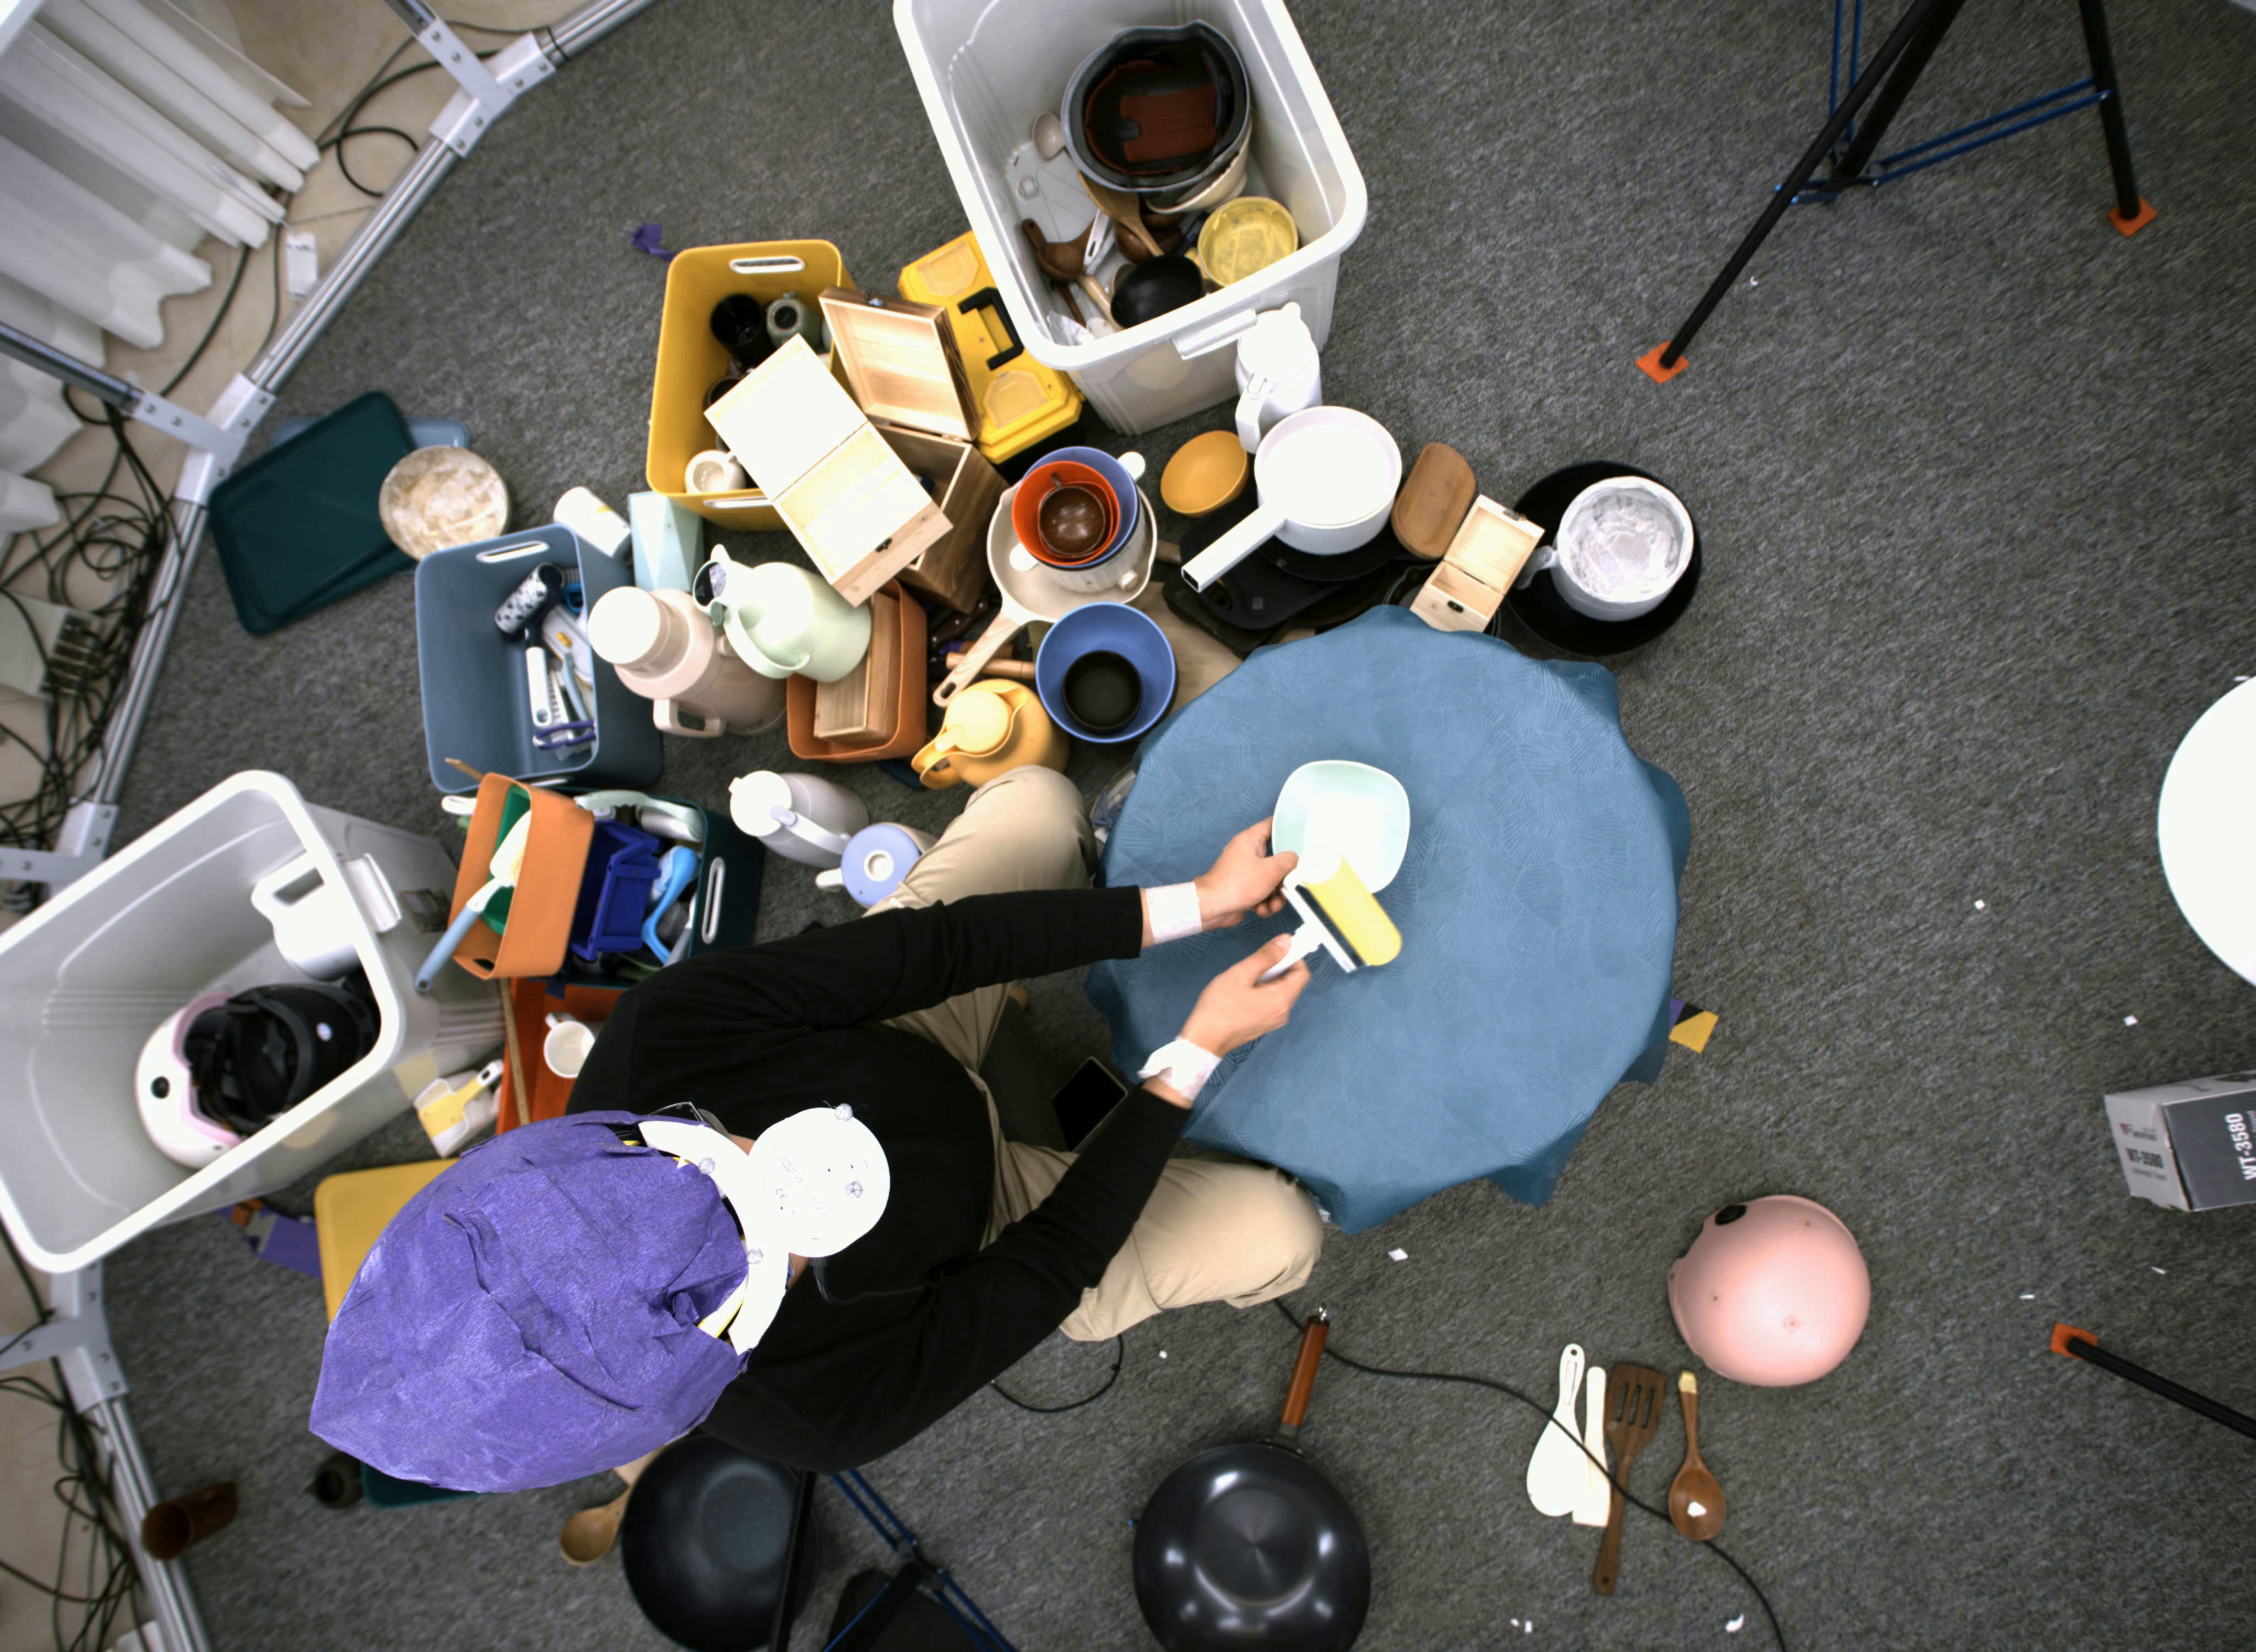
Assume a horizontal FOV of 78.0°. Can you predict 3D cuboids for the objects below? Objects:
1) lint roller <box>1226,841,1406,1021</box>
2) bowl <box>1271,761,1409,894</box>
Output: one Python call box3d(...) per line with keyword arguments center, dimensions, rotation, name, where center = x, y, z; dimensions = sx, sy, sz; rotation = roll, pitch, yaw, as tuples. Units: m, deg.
box3d(center=(0.176, 0.129, 1.381), dimensions=(0.192, 0.176, 0.051), rotation=(-47, 42, -2), name="lint roller")
box3d(center=(0.222, 0.005, 1.438), dimensions=(0.152, 0.059, 0.150), rotation=(-1, 85, 12), name="bowl")
